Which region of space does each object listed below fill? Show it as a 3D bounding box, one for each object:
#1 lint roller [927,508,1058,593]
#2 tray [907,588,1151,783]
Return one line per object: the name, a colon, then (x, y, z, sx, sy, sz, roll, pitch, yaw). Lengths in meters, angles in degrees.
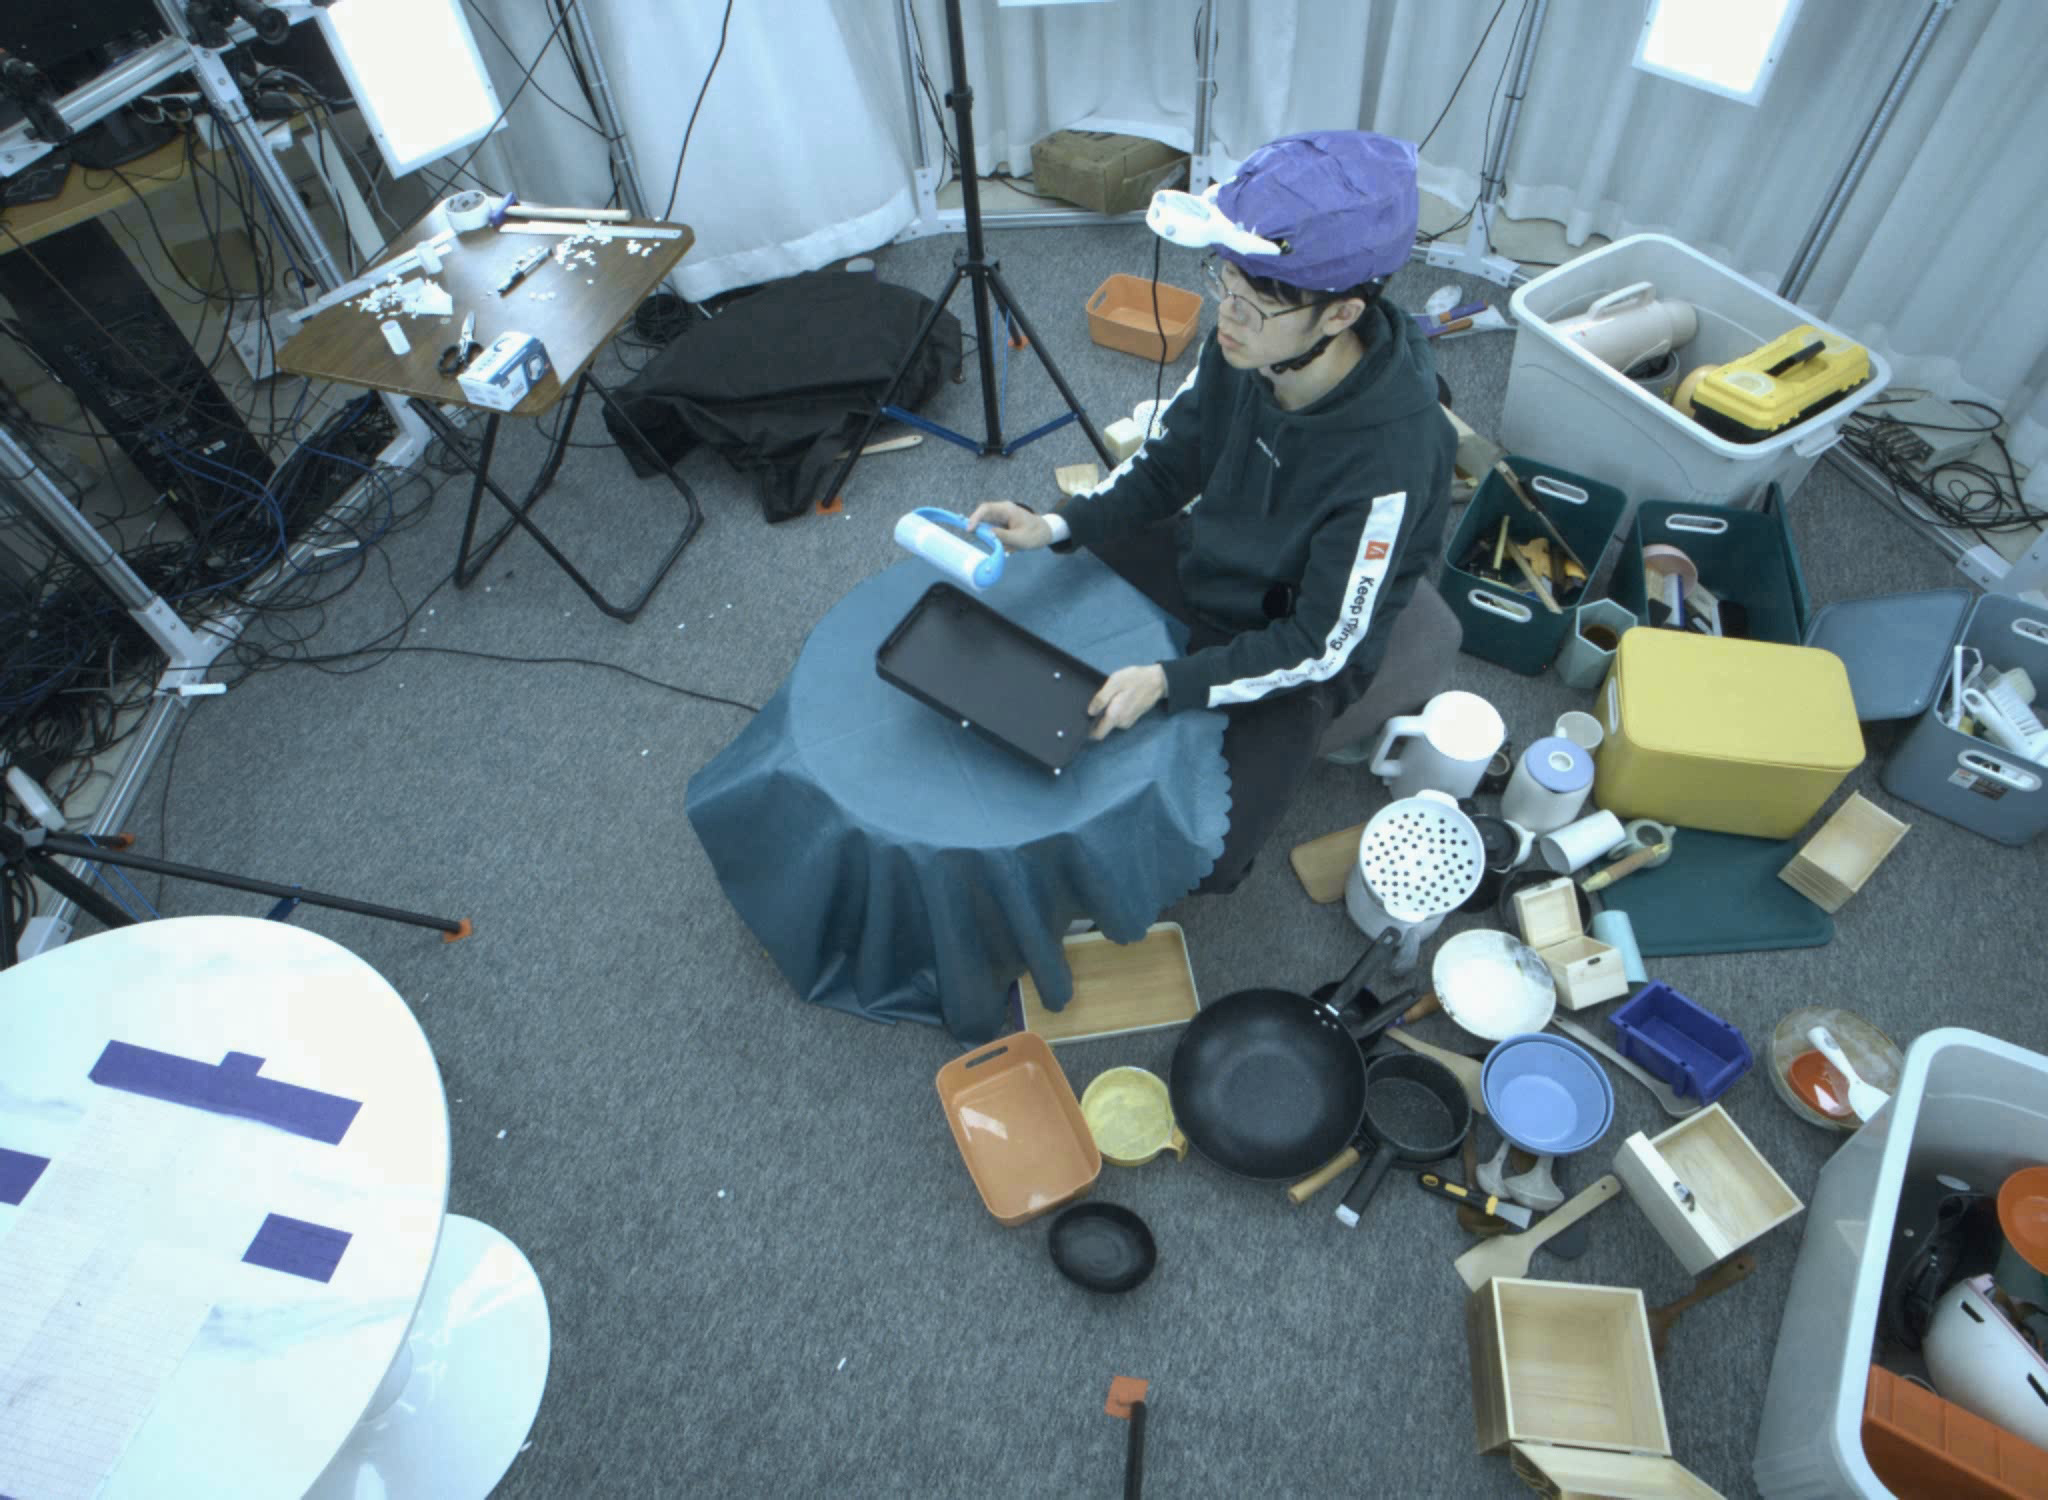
lint roller: (-0.023, -0.308, 1.835, 0.183, 0.068, 0.223, -20, 40, -37)
tray: (0.006, -0.094, 1.748, 0.316, 0.037, 0.185, 30, 59, 7)
